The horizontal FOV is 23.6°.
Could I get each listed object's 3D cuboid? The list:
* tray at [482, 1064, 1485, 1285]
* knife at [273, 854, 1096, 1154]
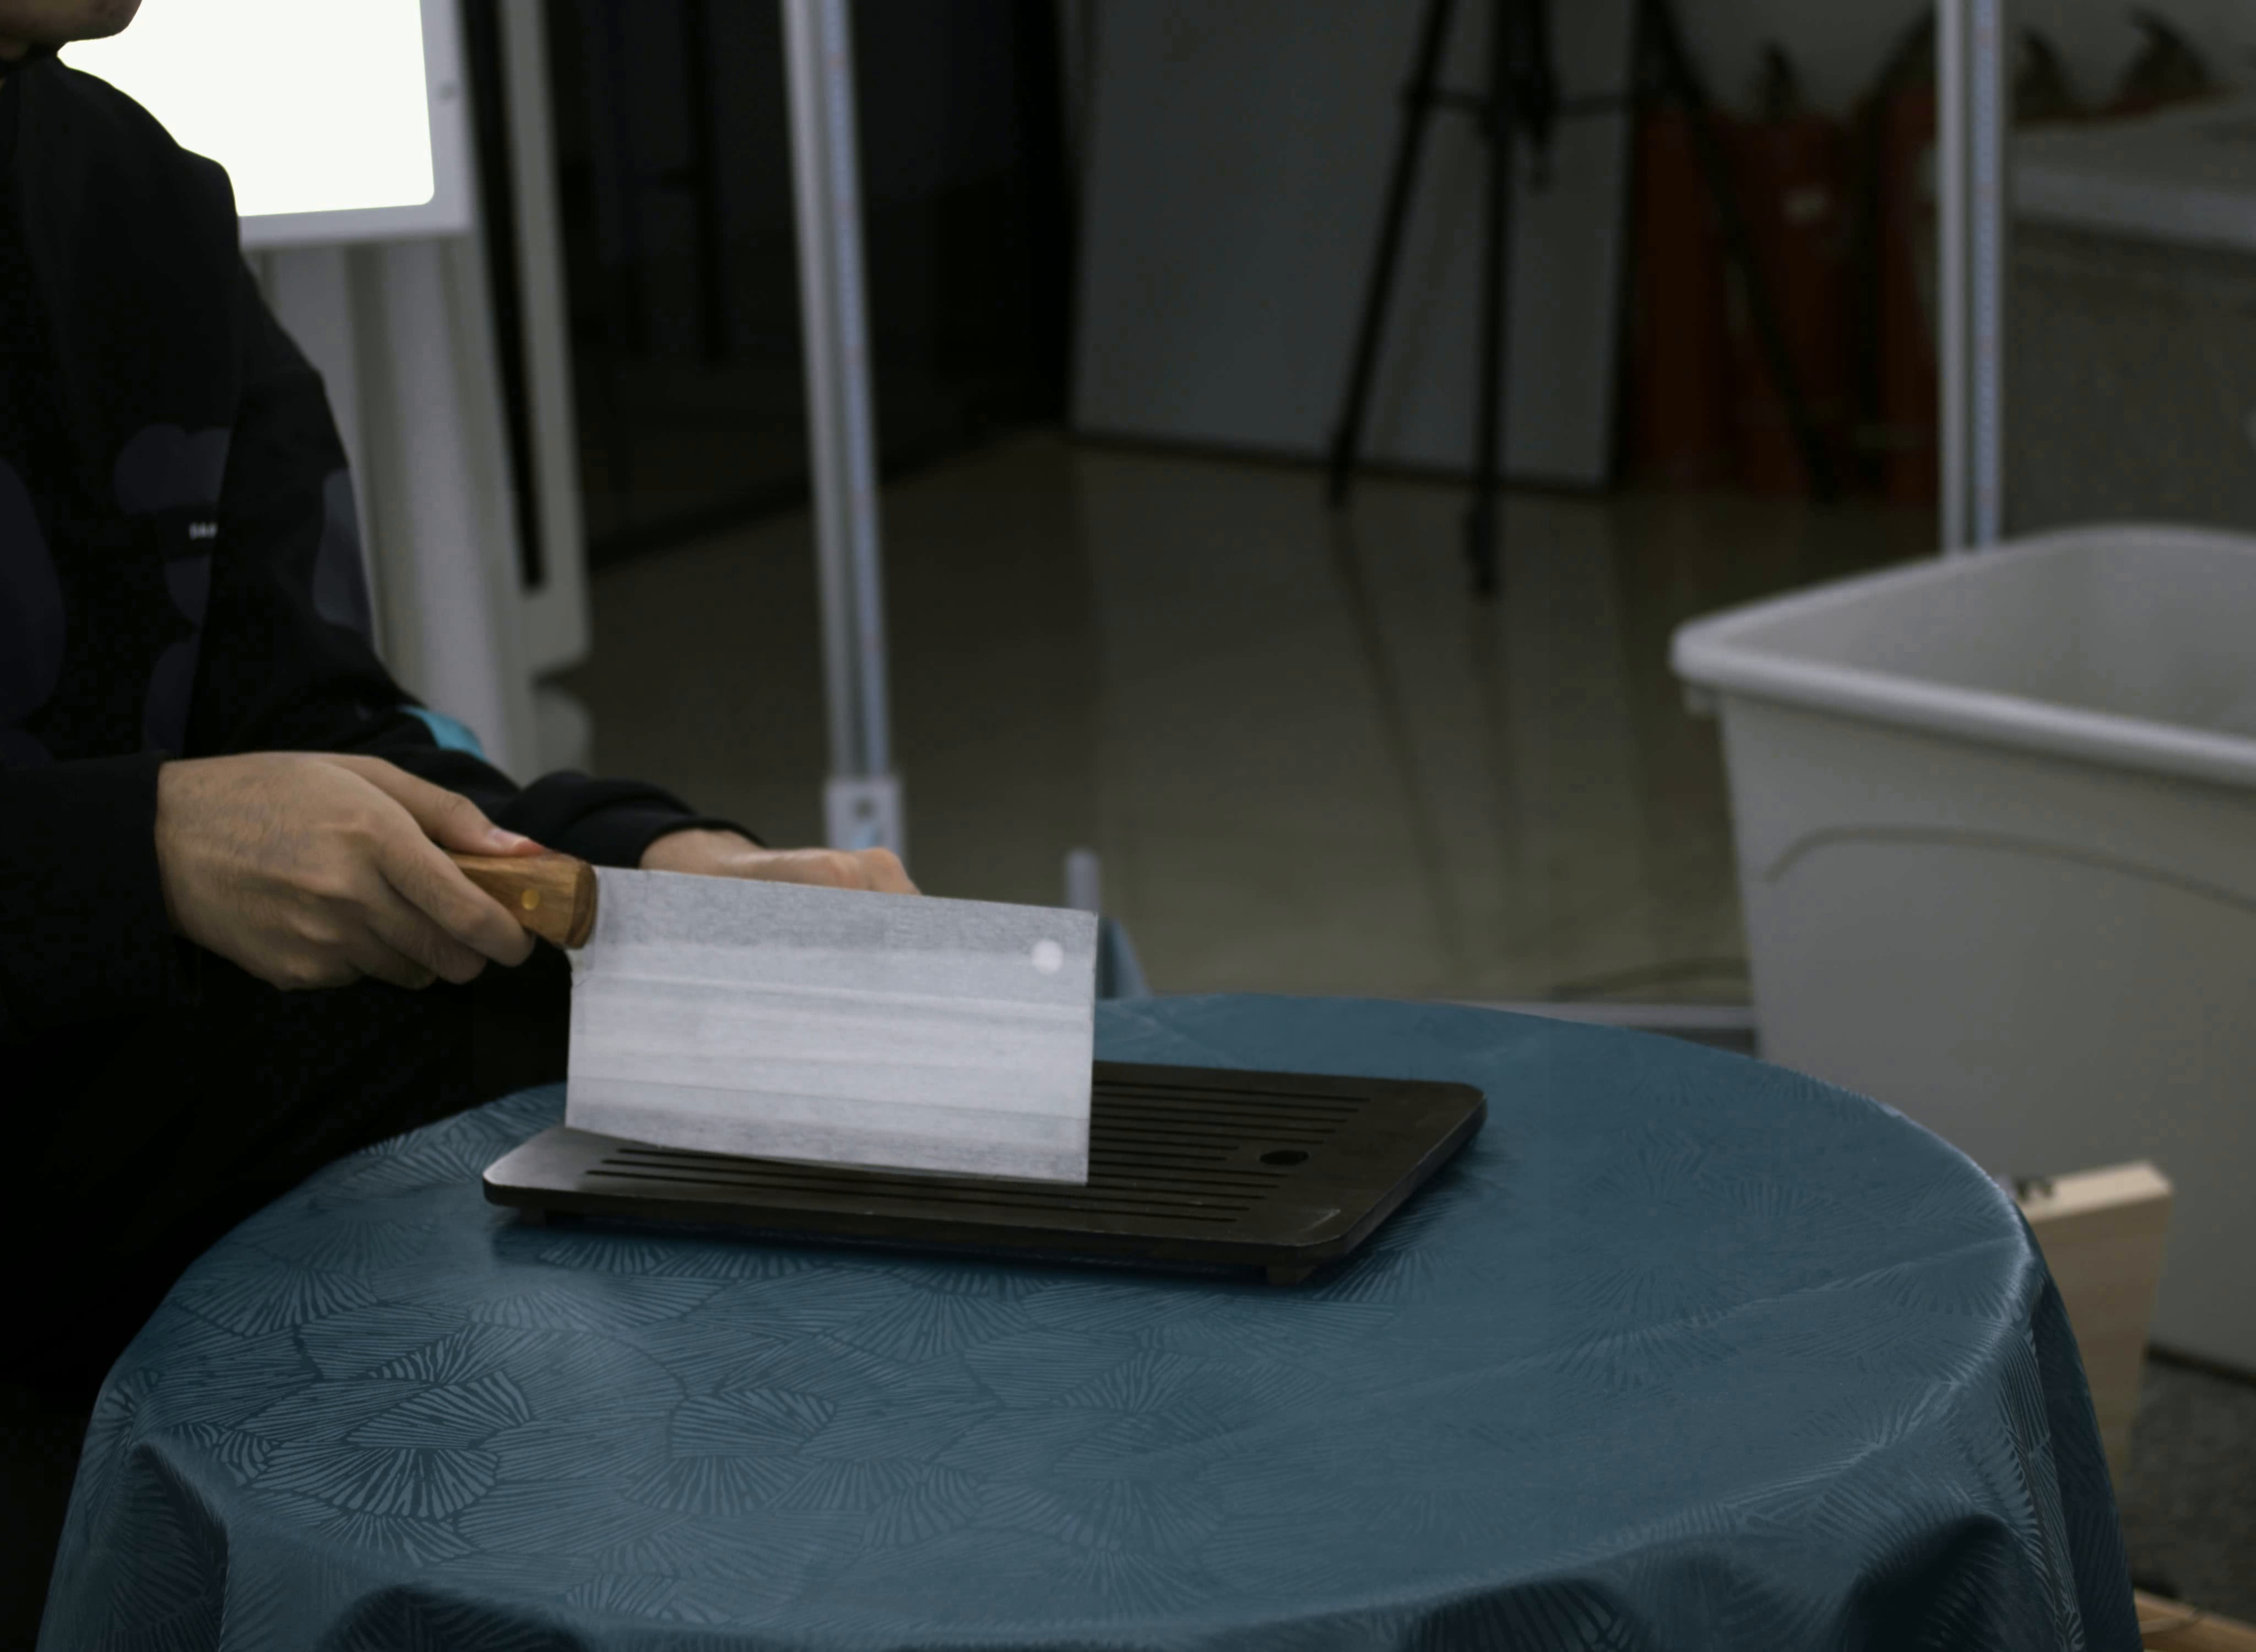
[{"bbox_3d":[-0.046,0.110,1.791,0.306,0.019,0.168,2,15,24],"label":"tray"},{"bbox_3d":[-0.148,0.059,1.767,0.306,0.094,0.021,4,7,25],"label":"knife"}]
